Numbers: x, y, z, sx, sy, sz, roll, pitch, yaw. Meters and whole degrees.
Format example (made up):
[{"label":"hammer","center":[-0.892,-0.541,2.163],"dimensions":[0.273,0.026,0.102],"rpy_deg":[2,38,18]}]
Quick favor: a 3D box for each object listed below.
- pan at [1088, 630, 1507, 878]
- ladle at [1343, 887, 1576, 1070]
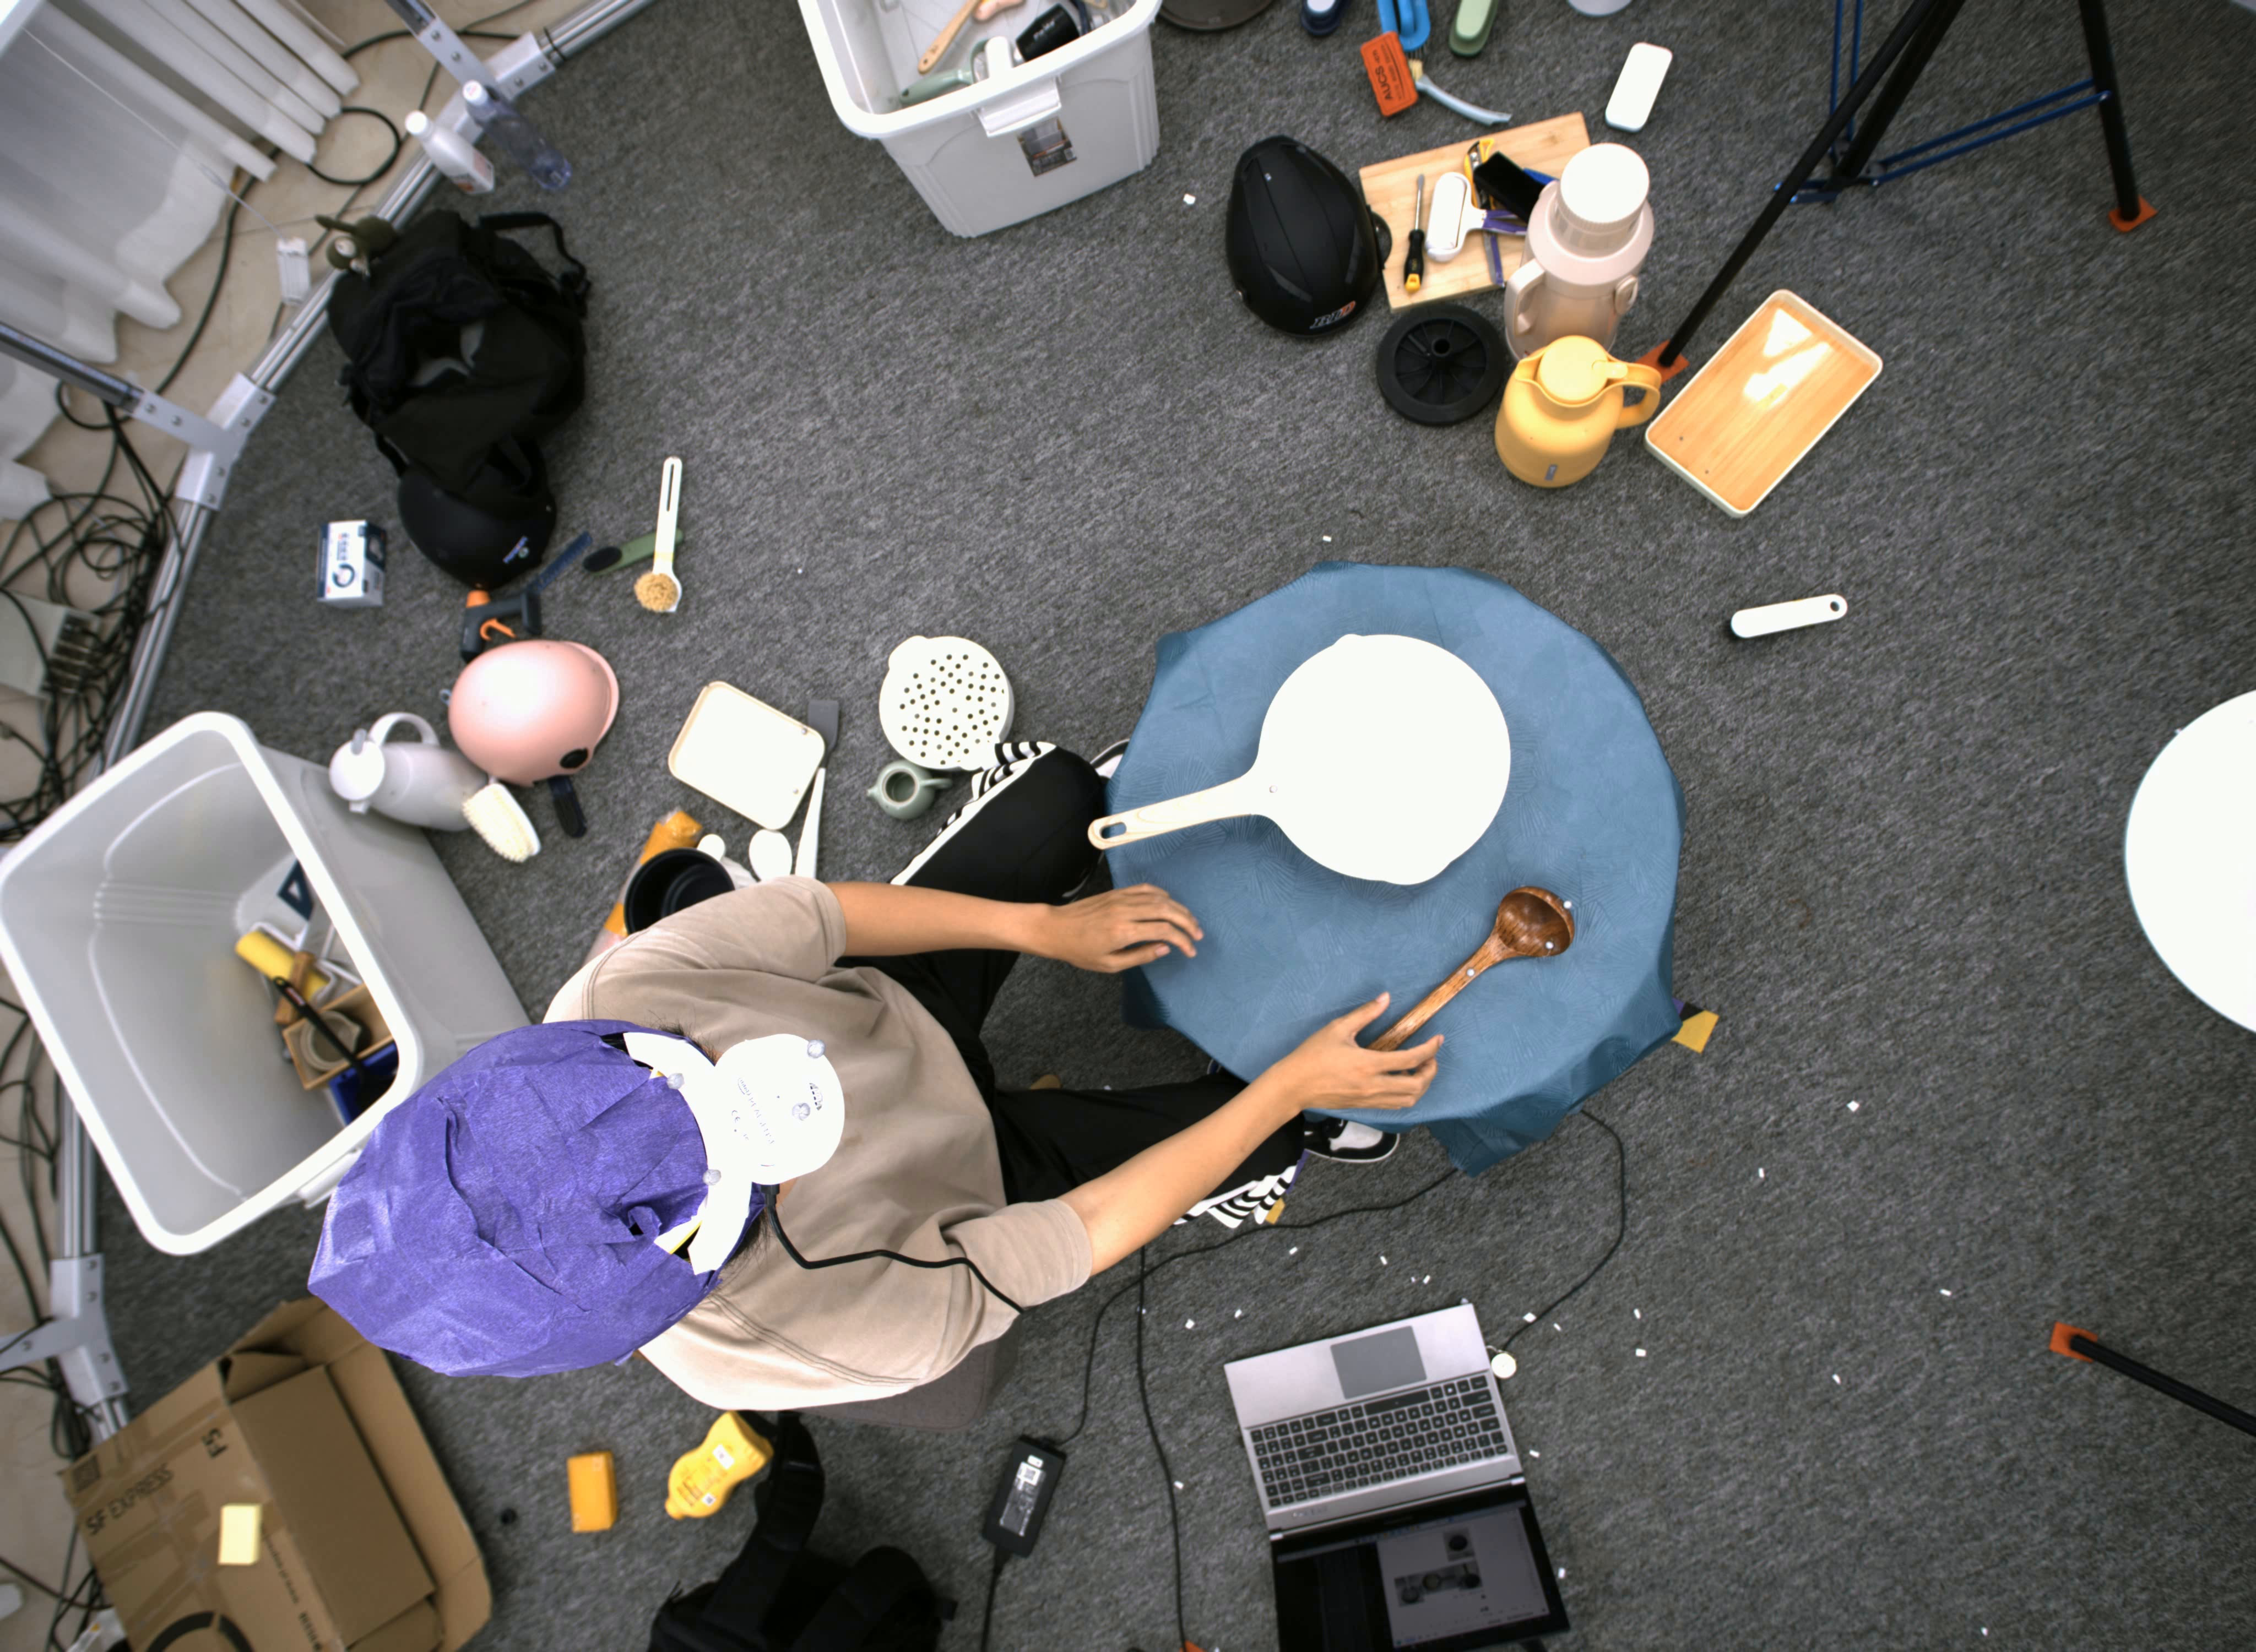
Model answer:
[{"label":"pan","center":[0.173,-0.047,1.436],"dimensions":[0.437,0.102,0.262],"rpy_deg":[-17,85,9]},{"label":"ladle","center":[0.335,0.163,1.404],"dimensions":[0.275,0.076,0.081],"rpy_deg":[-39,85,5]}]
